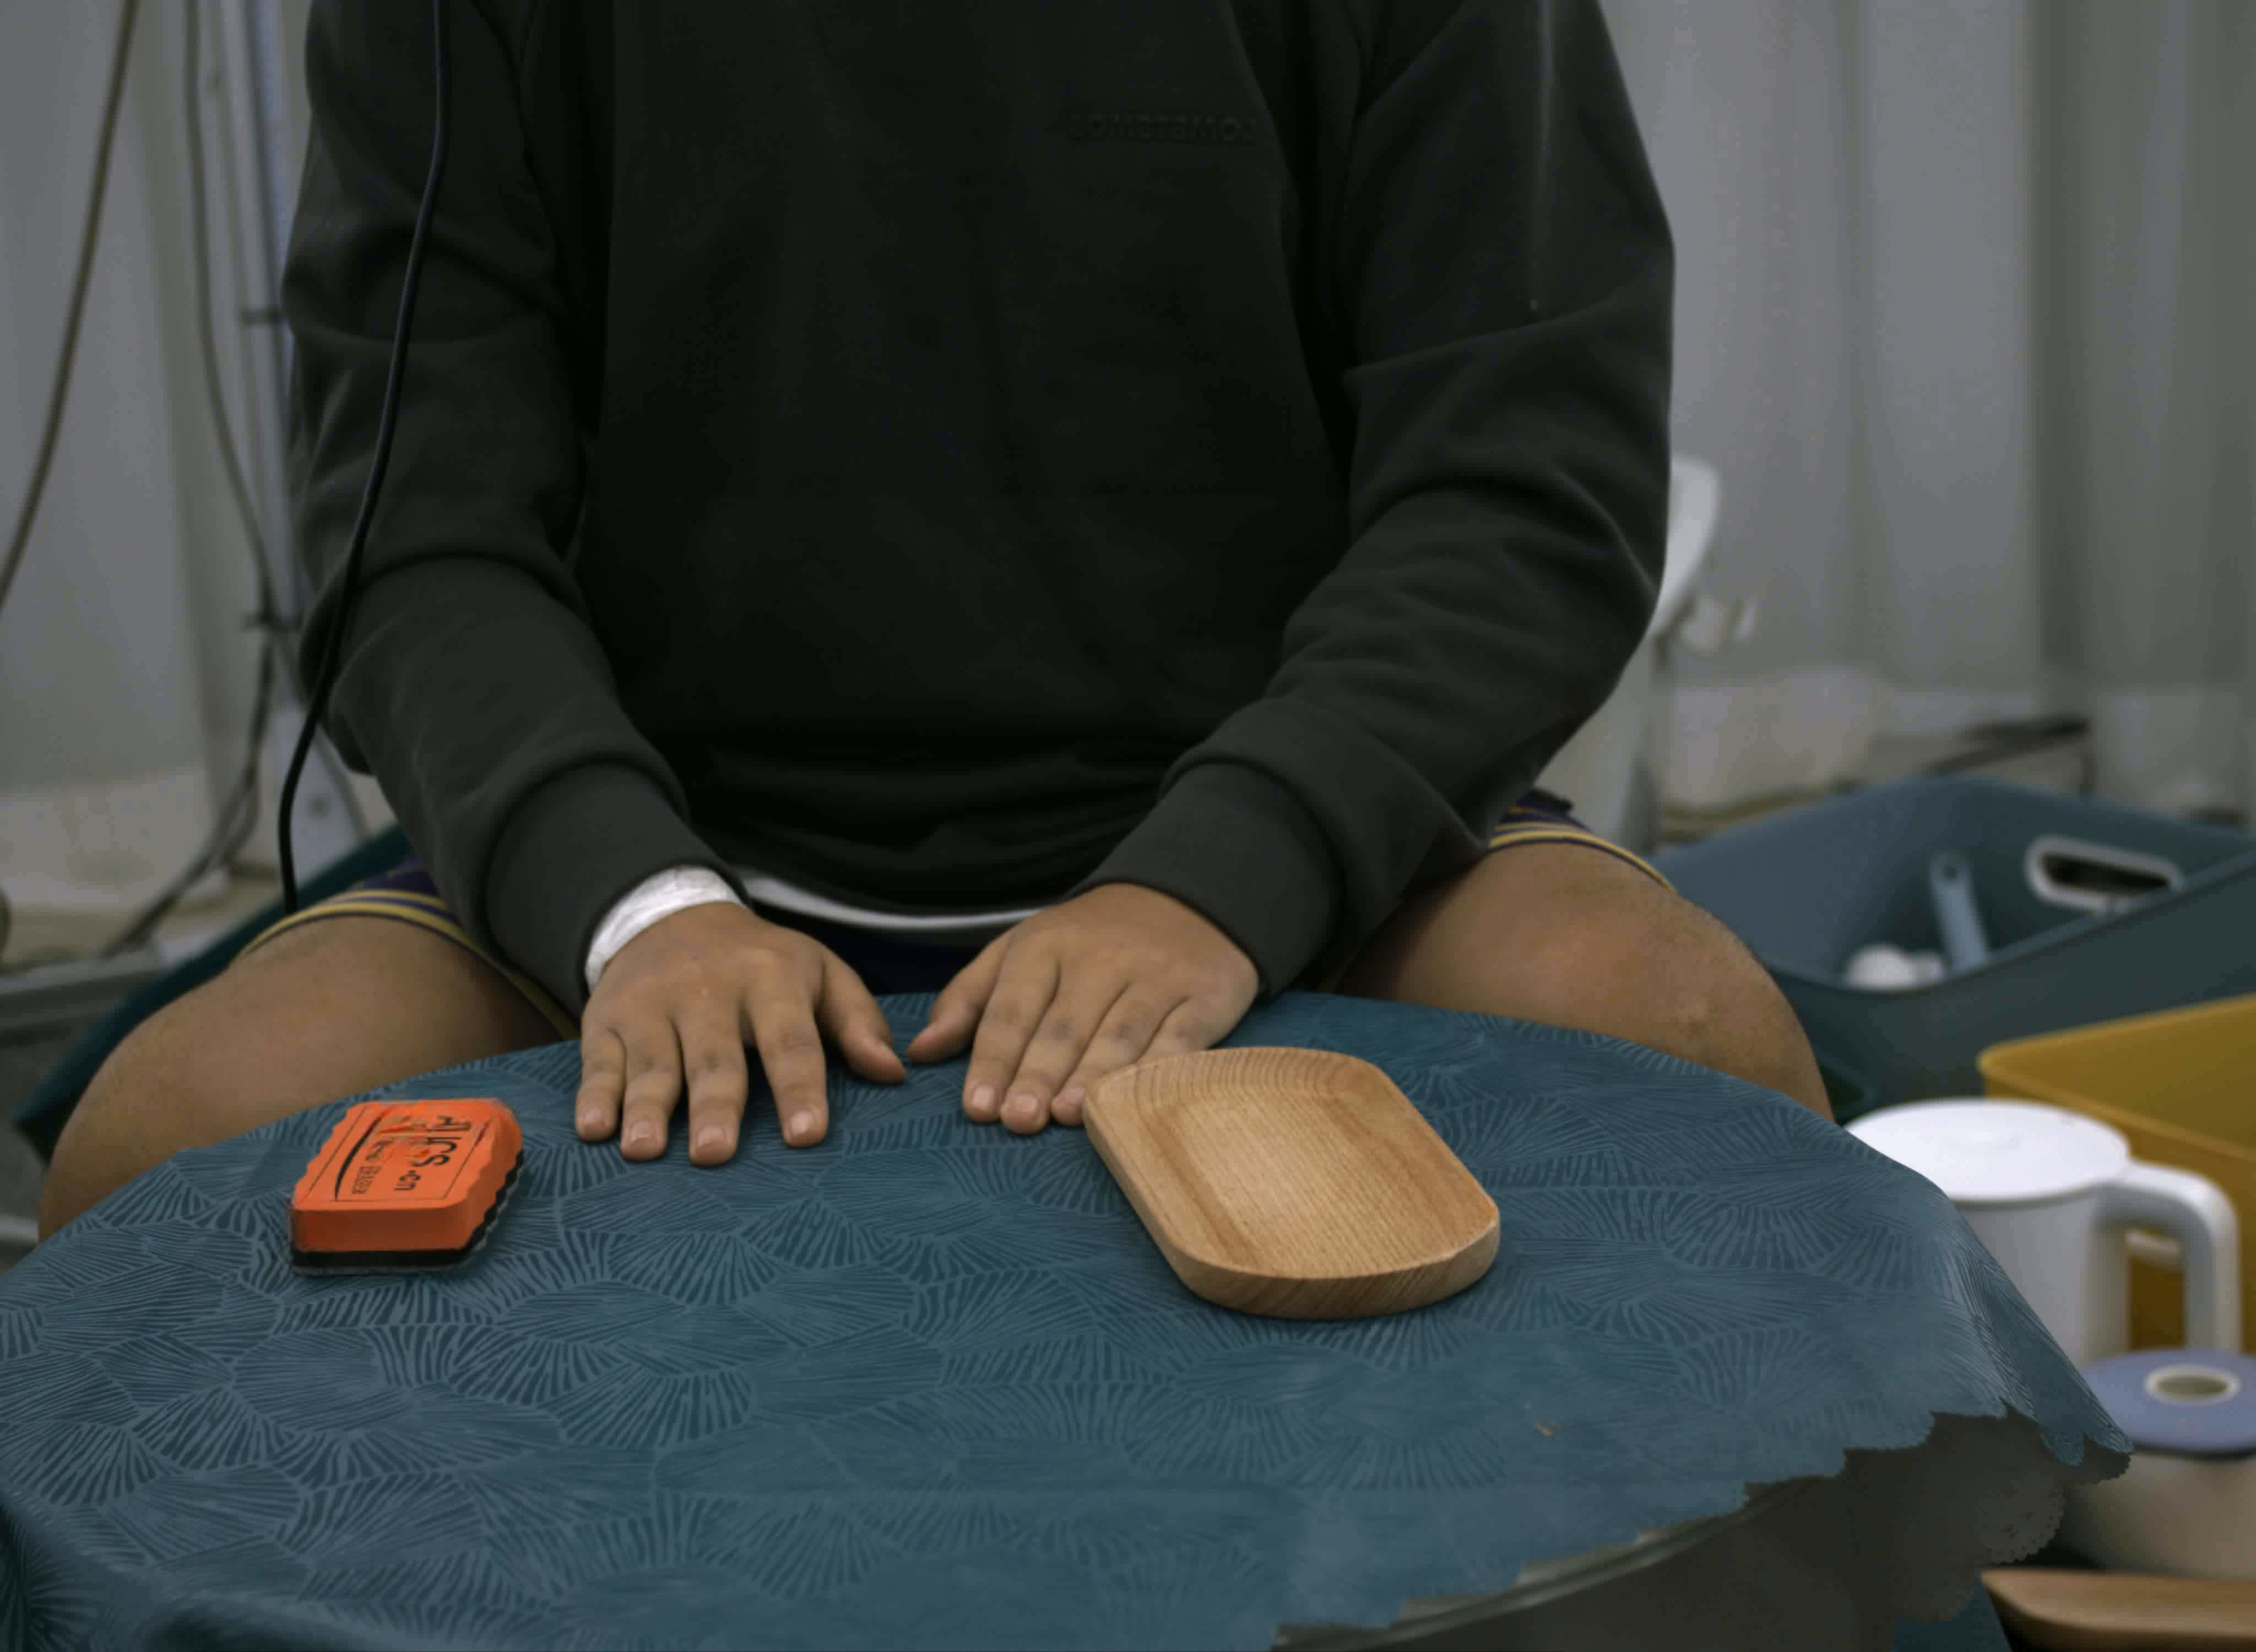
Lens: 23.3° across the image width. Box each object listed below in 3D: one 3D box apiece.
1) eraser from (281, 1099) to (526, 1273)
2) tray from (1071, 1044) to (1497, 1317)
[{"bbox_3d":[-0.227,0.113,1.722,0.059,0.023,0.108,-2,14,6],"label":"eraser"},{"bbox_3d":[0.046,0.108,1.700,0.101,0.020,0.233,-5,14,-11],"label":"tray"}]
